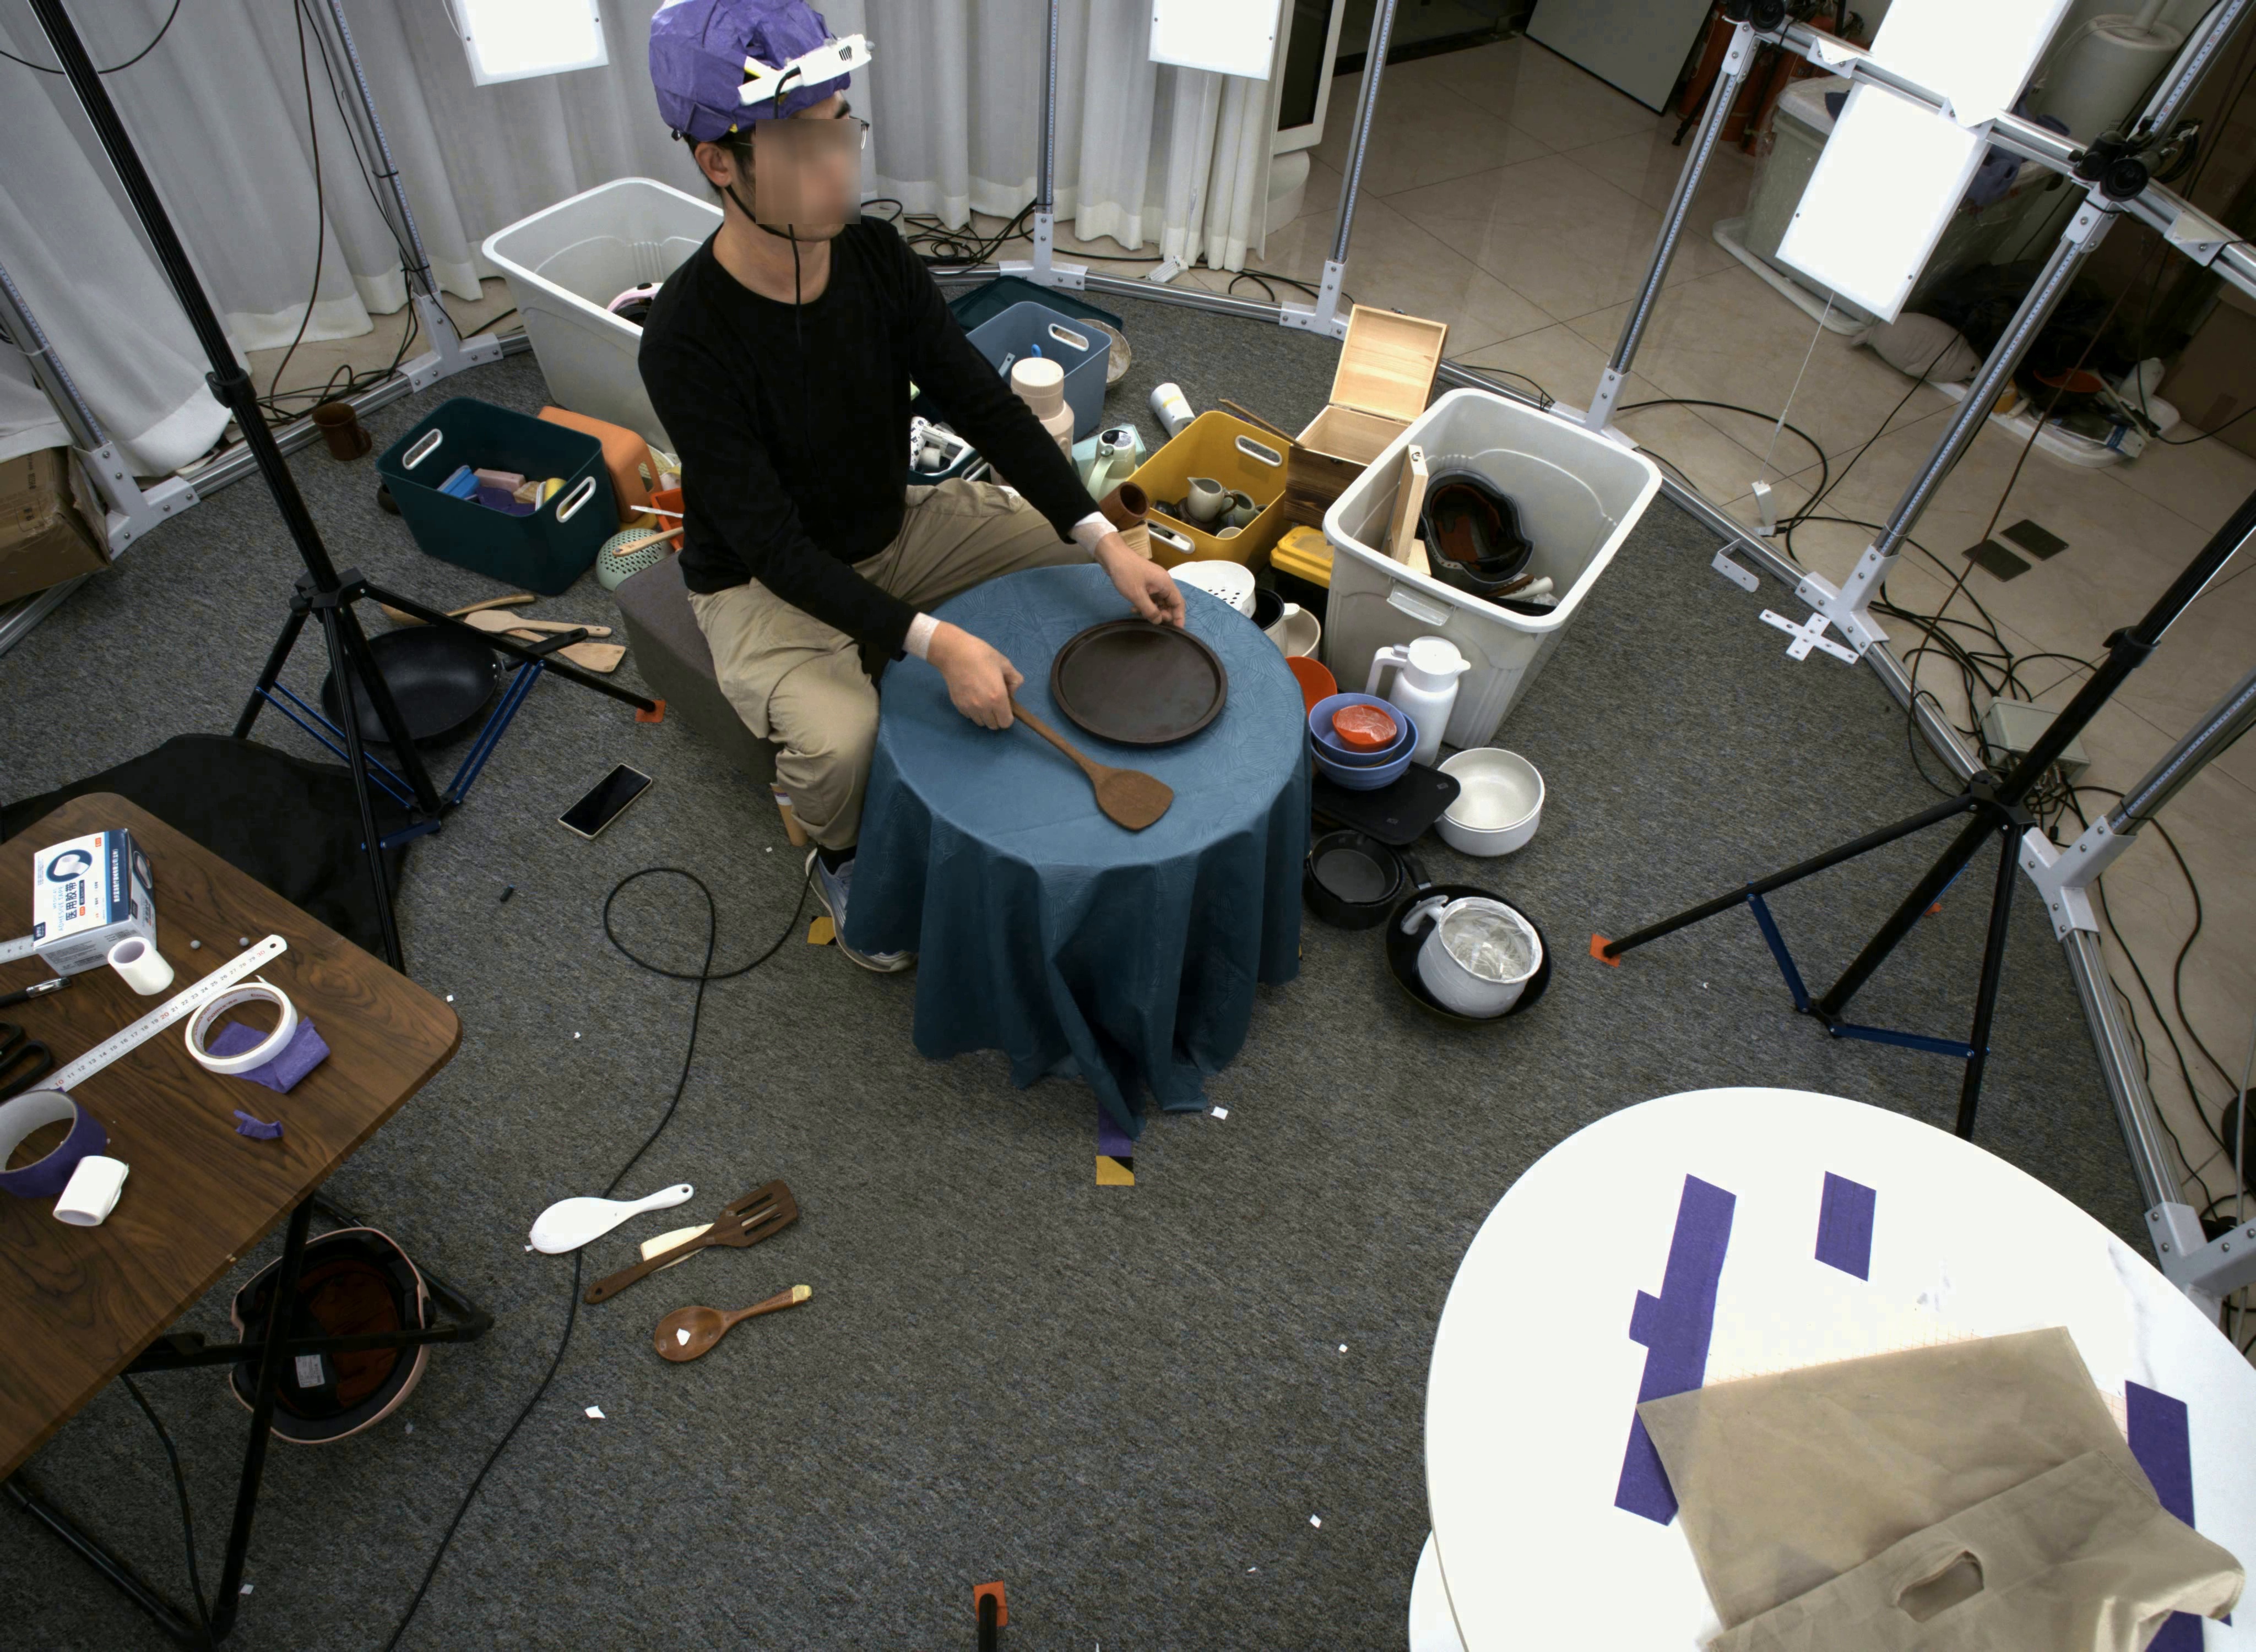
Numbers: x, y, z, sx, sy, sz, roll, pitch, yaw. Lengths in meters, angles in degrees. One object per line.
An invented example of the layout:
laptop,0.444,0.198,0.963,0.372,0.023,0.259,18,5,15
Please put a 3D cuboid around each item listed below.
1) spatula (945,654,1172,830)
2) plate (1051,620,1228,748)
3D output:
spatula,-0.106,-0.125,1.740,0.390,0.015,0.097,38,56,17
plate,0.016,-0.205,1.833,0.254,0.028,0.261,2,50,-2
